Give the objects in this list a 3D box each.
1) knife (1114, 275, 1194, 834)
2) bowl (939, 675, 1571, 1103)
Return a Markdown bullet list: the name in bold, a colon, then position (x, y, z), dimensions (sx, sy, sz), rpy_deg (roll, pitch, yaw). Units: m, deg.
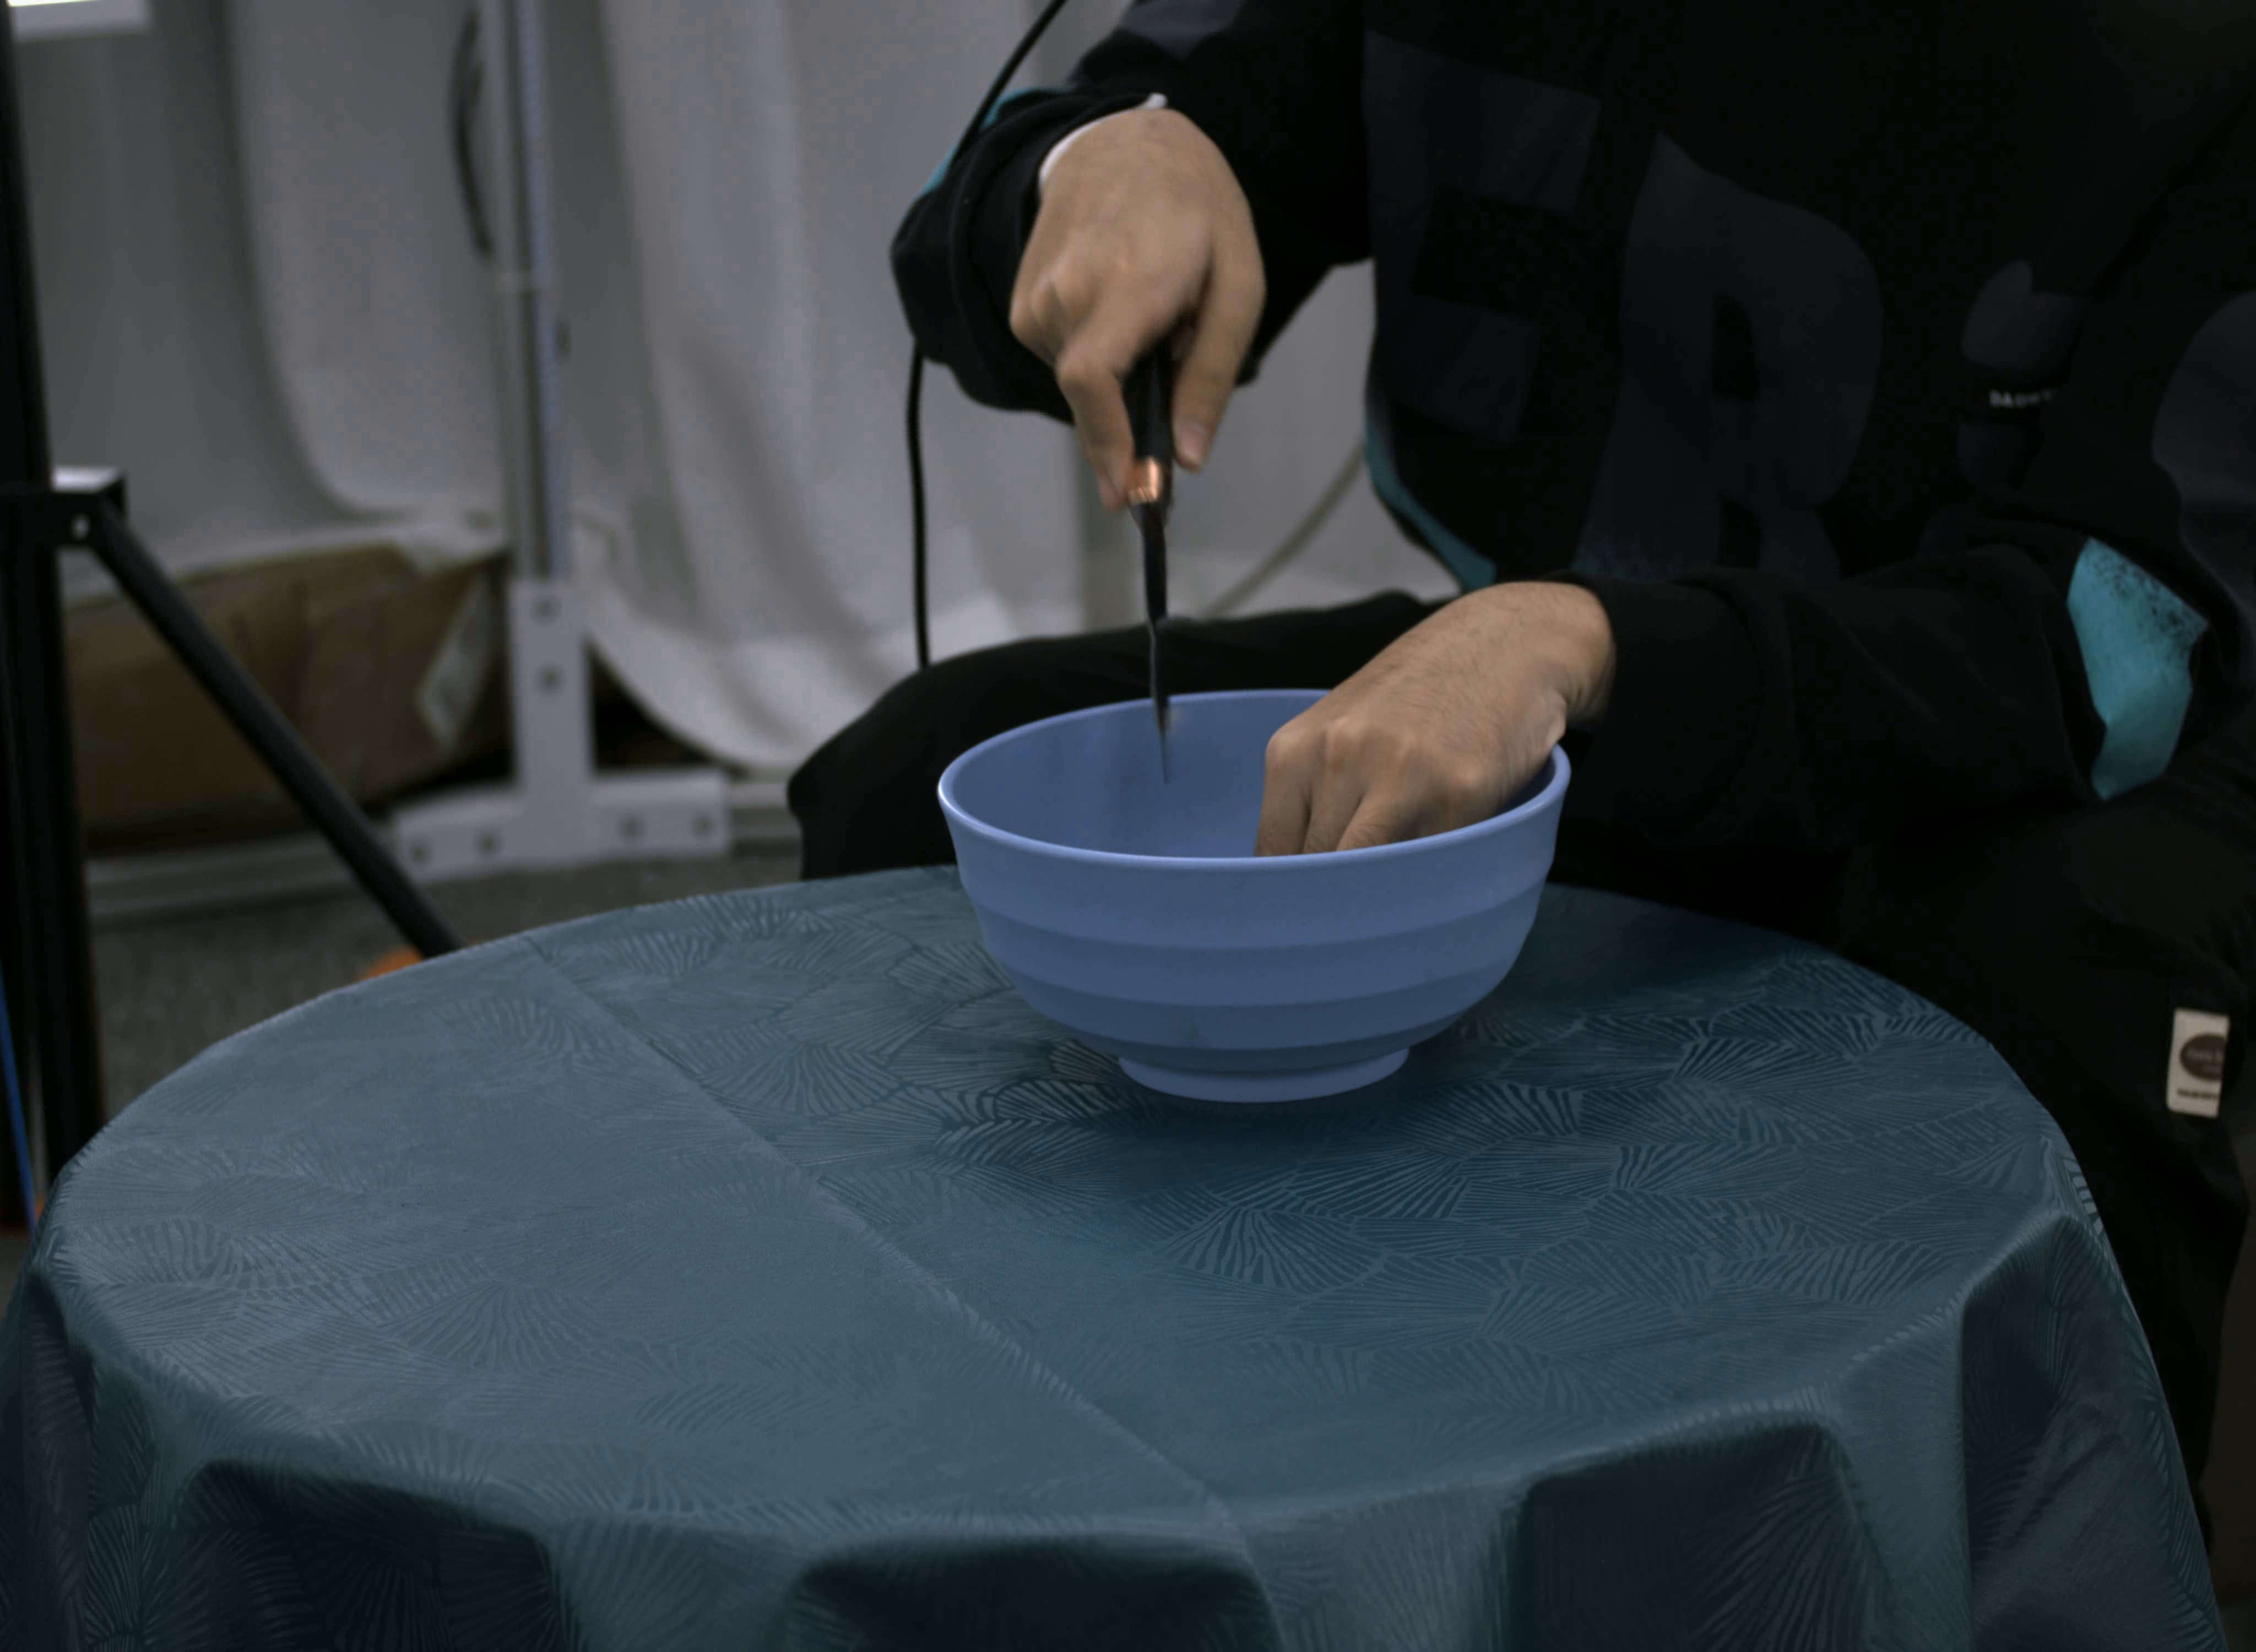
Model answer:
- **knife**: position (0.010, -0.090, 1.702), dimensions (0.017, 0.026, 0.228), rpy_deg (-11, 50, 7)
- **bowl**: position (0.041, 0.026, 1.658), dimensions (0.195, 0.095, 0.197), rpy_deg (-3, 19, 0)
